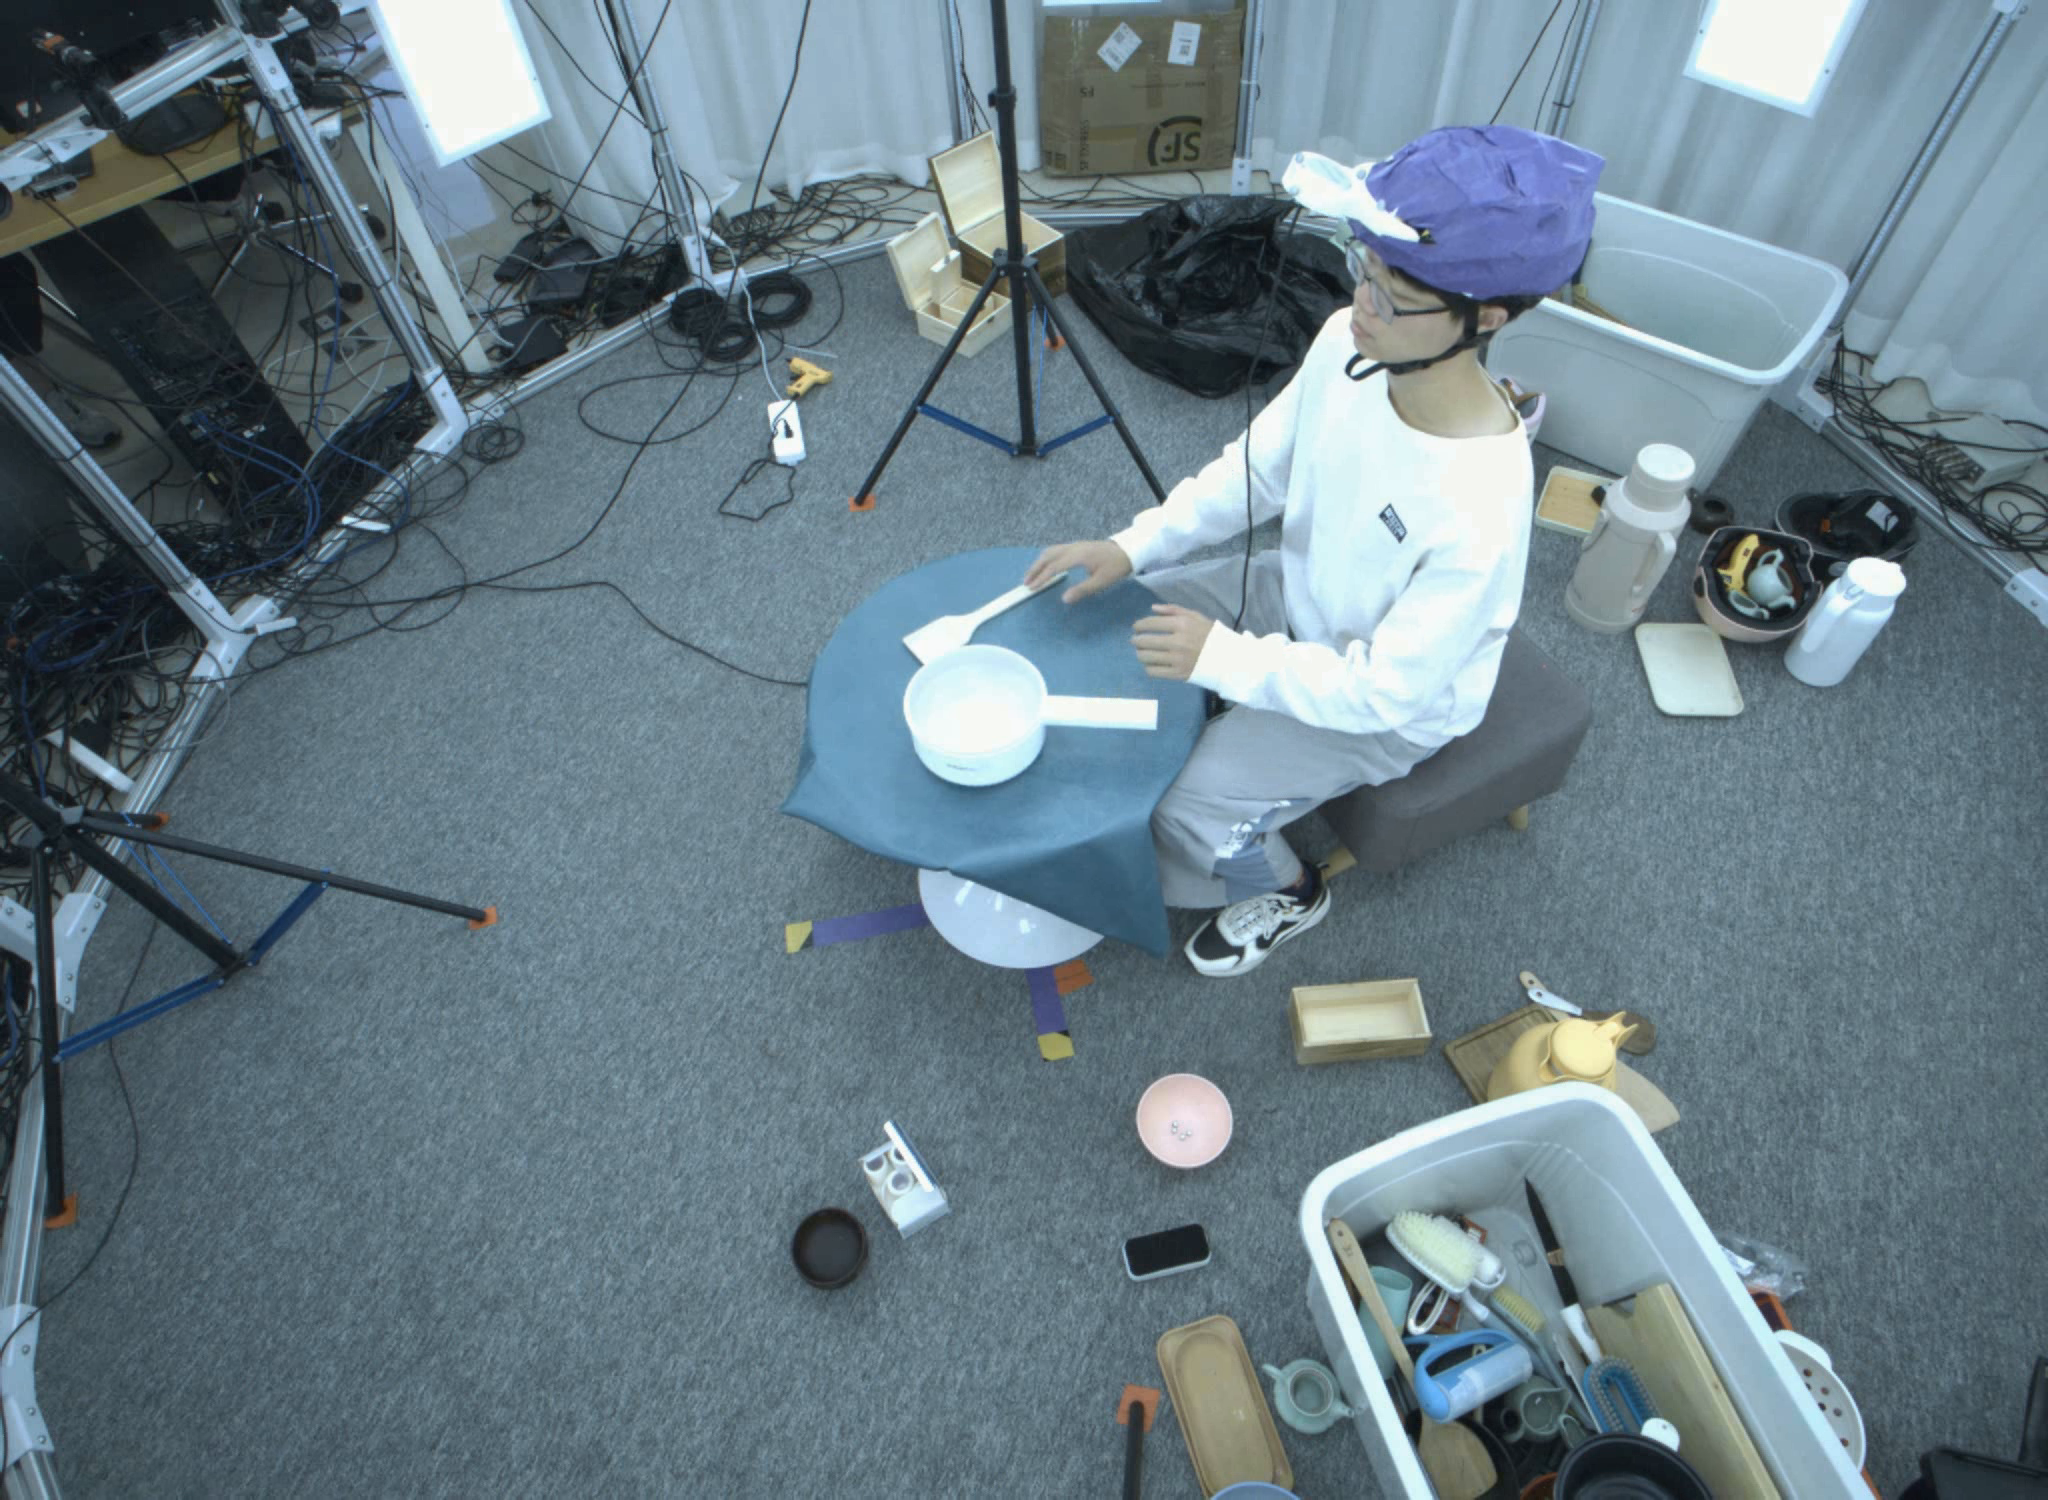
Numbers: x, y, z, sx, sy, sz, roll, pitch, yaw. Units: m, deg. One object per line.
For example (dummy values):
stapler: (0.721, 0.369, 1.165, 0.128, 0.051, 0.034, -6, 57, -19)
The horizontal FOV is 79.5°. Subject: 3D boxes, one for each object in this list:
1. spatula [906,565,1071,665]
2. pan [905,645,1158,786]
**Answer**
spatula: (-0.049, -0.222, 1.940, 0.295, 0.011, 0.071, -31, 58, -19)
pan: (0.012, -0.039, 1.751, 0.354, 0.103, 0.199, 4, 54, 3)
